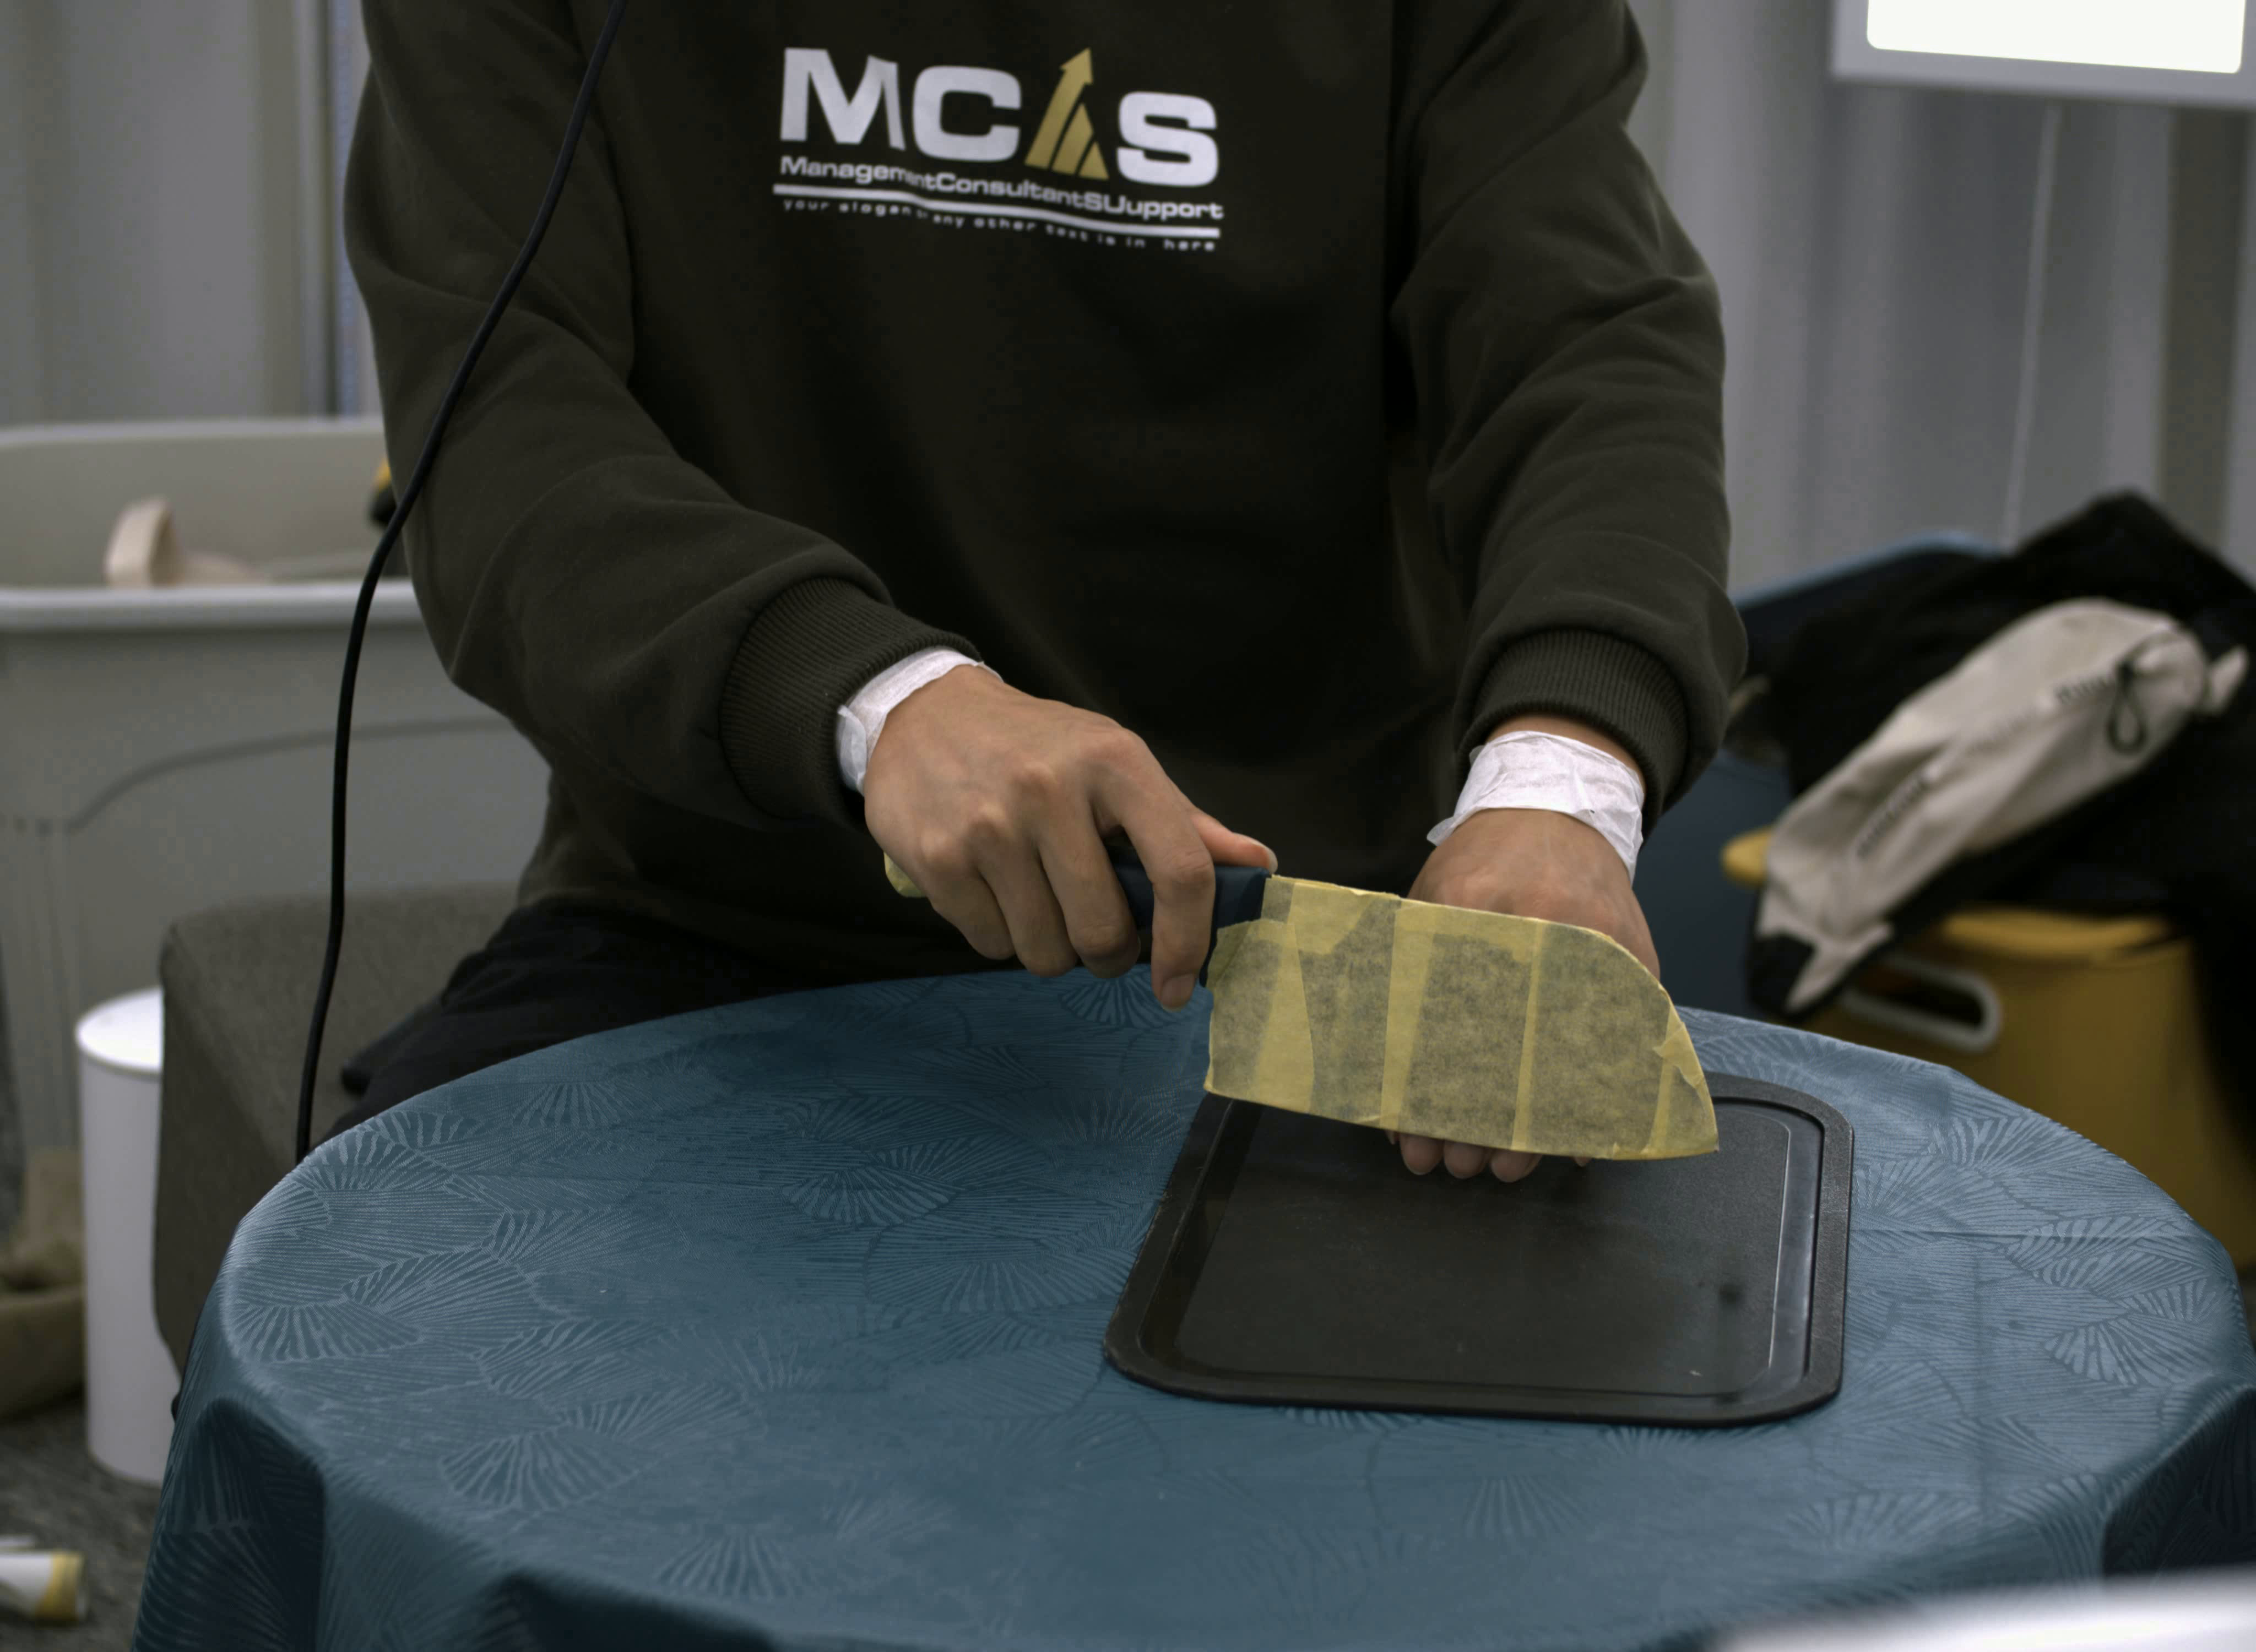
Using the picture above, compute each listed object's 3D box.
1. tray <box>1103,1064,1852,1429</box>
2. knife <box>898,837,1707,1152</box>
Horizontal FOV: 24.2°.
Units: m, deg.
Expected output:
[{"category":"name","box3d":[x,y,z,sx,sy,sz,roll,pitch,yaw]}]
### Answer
[{"category":"tray","box3d":[0.112,0.117,1.598,0.210,0.010,0.324,3,16,8]},{"category":"knife","box3d":[0.050,0.051,1.643,0.286,0.081,0.027,13,8,27]}]
